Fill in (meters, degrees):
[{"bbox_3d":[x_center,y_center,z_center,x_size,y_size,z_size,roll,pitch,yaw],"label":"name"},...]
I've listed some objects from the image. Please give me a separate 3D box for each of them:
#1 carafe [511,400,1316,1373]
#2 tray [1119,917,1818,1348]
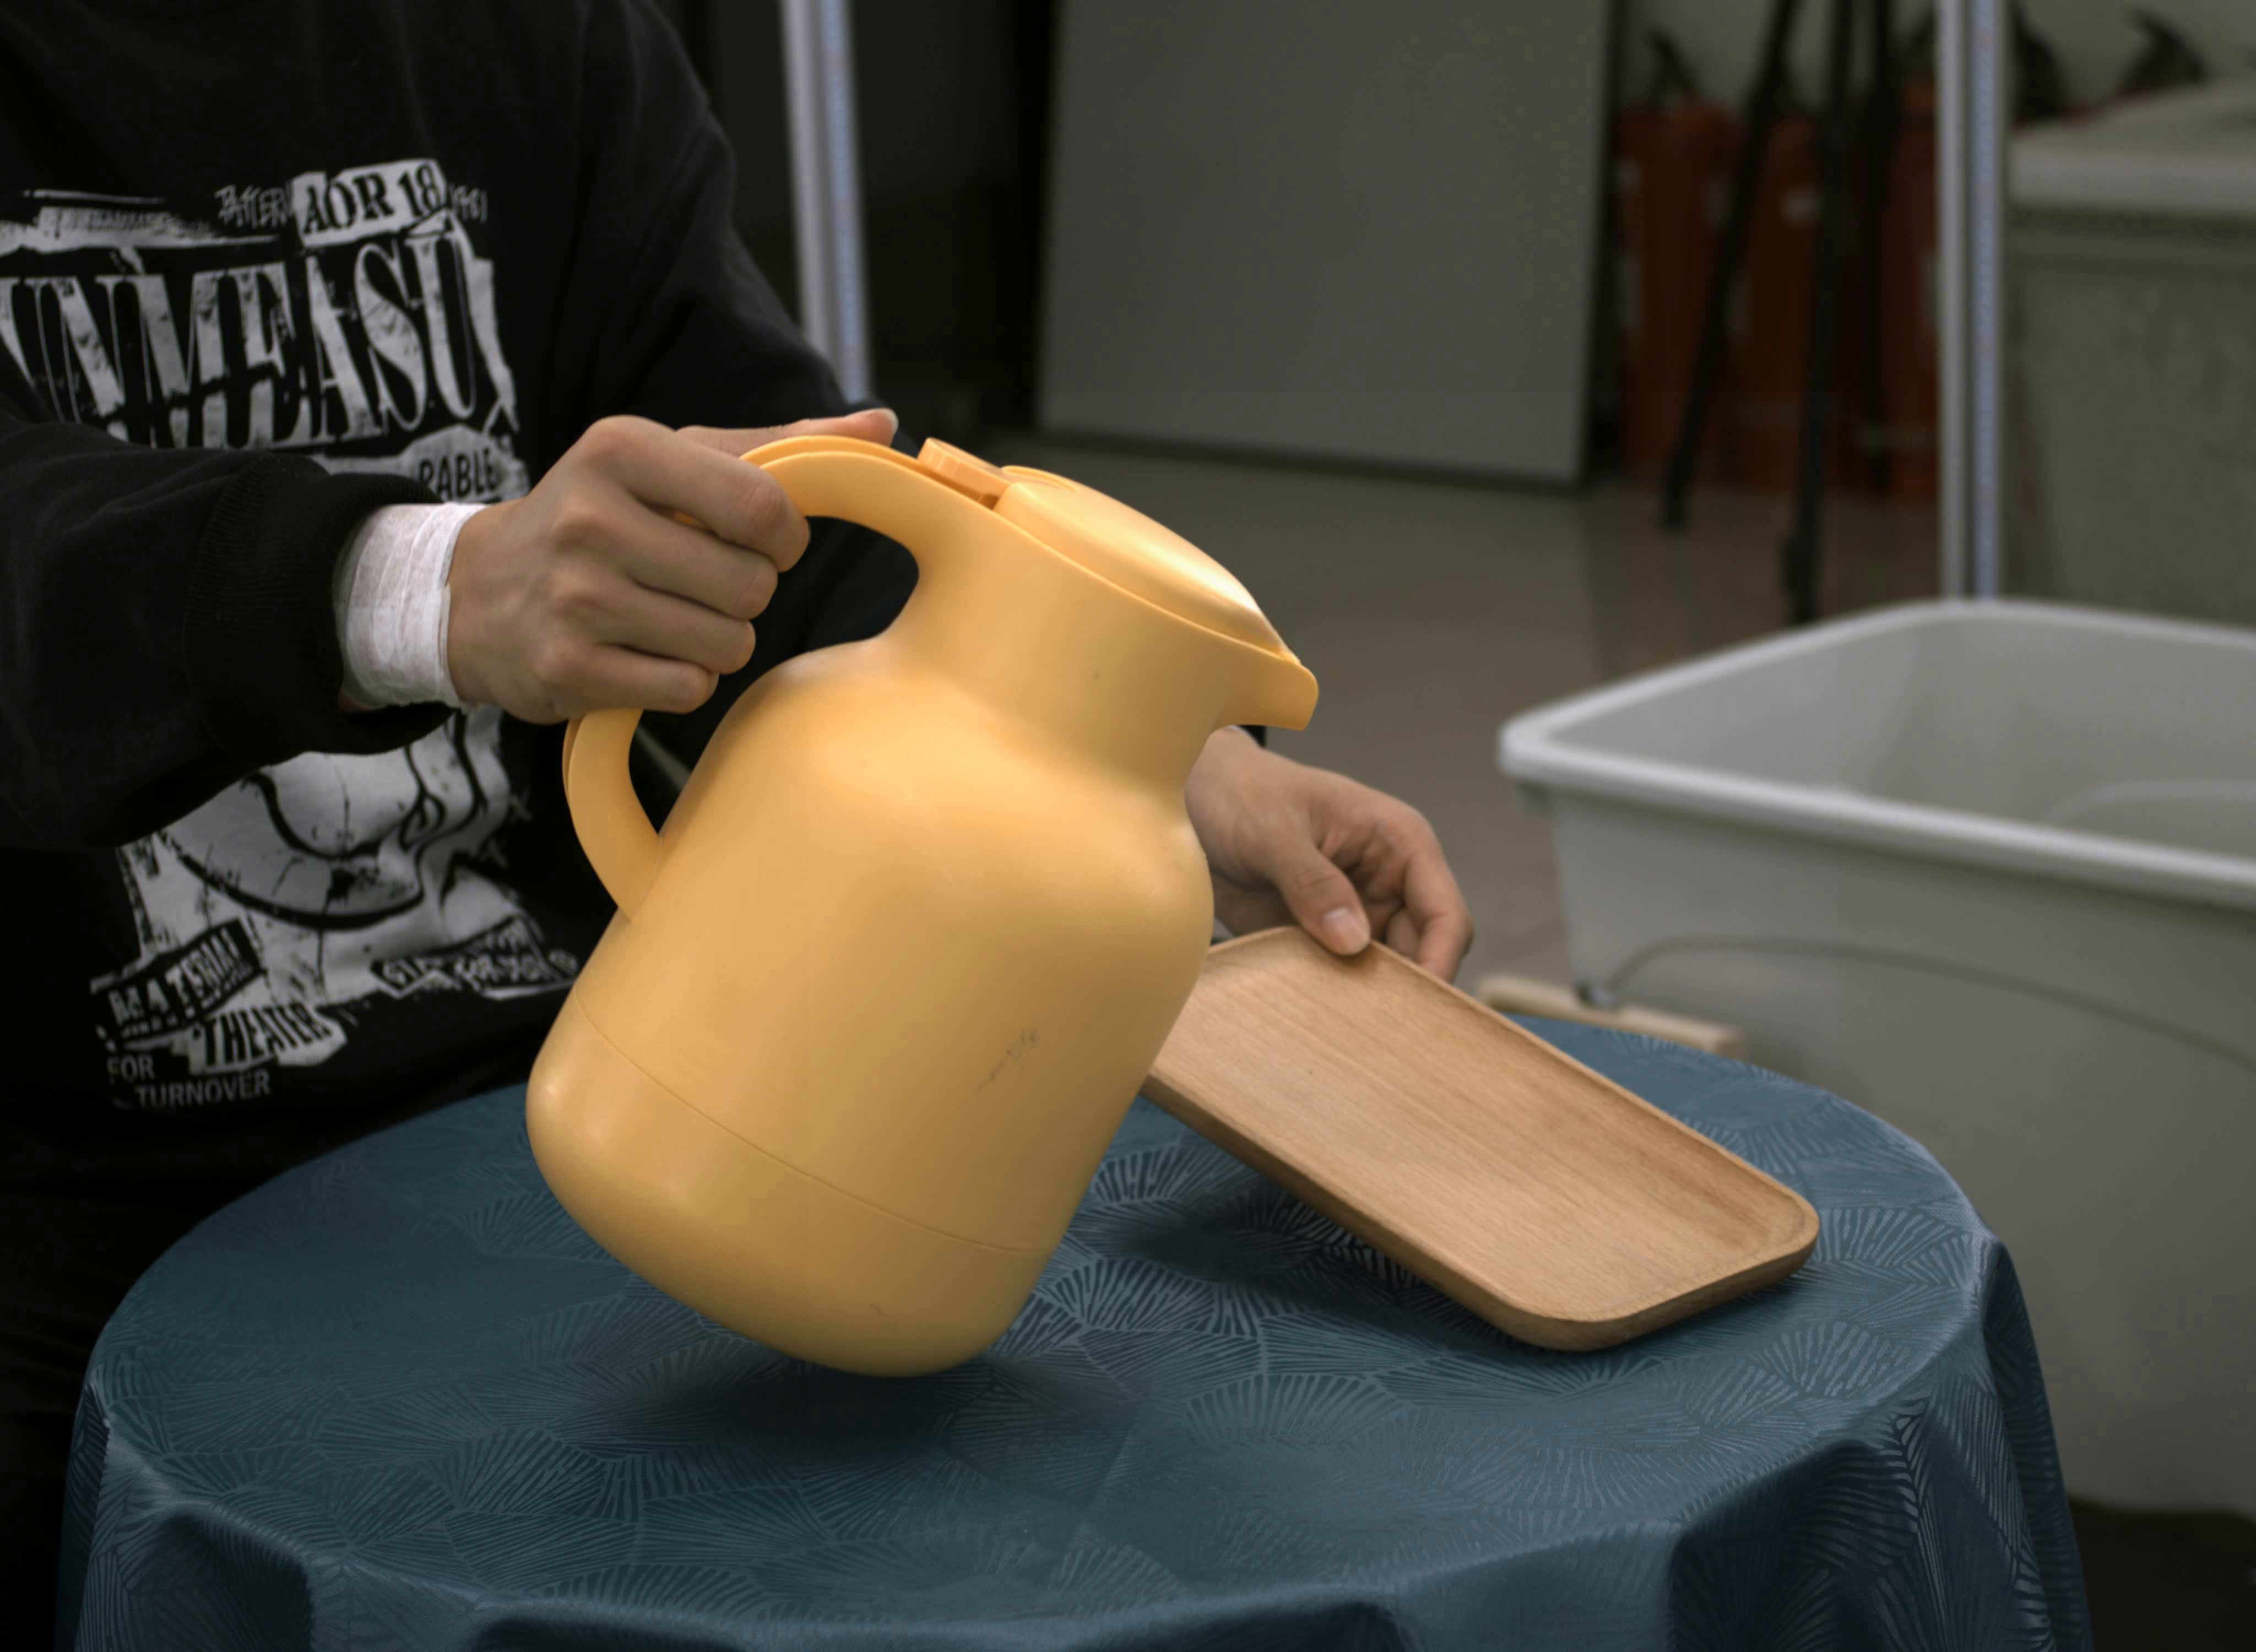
[{"bbox_3d":[-0.077,0.008,1.574,0.200,0.262,0.164,29,6,-10],"label":"carafe"},{"bbox_3d":[0.097,0.094,1.698,0.127,0.023,0.253,-13,29,-36],"label":"tray"}]
